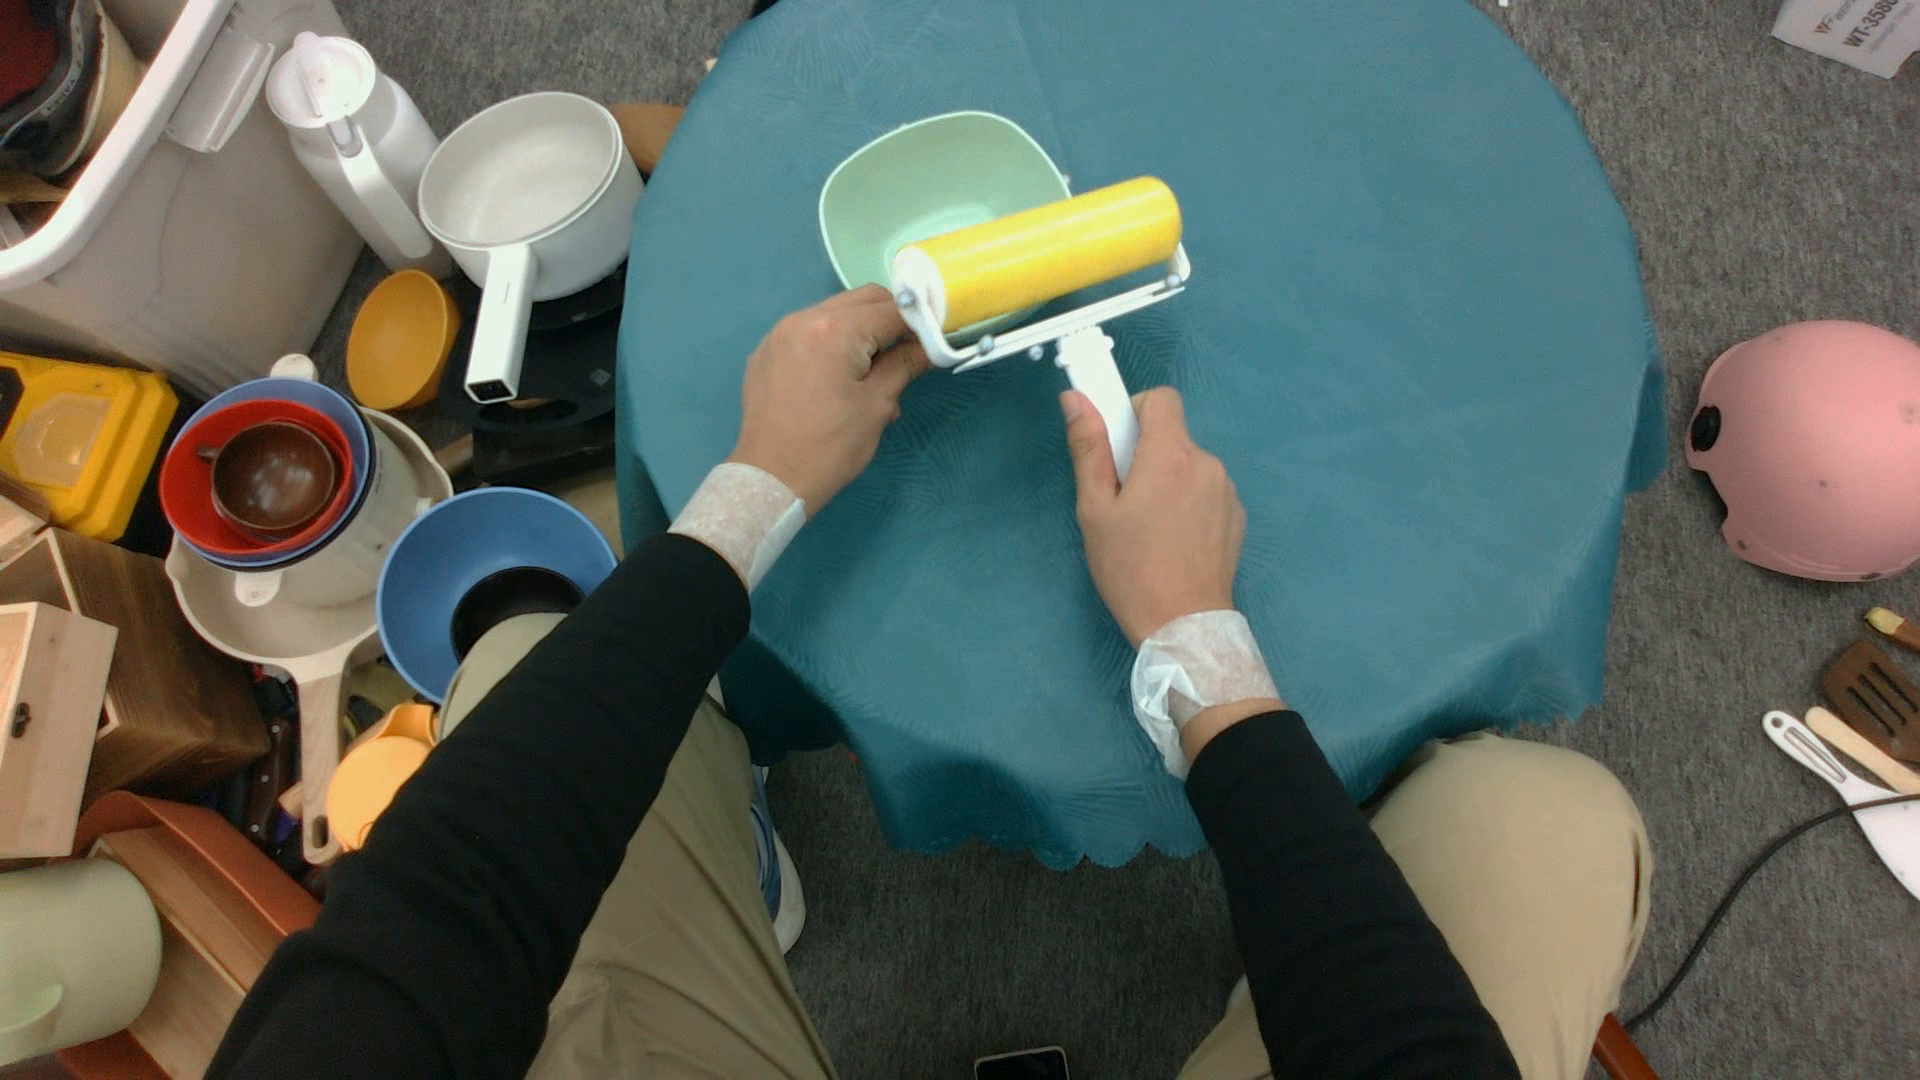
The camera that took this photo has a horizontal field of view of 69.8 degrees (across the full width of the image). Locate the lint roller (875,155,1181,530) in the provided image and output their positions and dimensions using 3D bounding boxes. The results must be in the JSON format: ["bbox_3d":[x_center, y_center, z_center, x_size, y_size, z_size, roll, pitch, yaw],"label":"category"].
[{"bbox_3d":[0.069,-0.096,0.710,0.175,0.051,0.192,-26,82,-32],"label":"lint roller"}]

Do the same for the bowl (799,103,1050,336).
[{"bbox_3d":[-0.016,-0.174,0.792,0.151,0.058,0.152,0,68,1],"label":"bowl"}]
